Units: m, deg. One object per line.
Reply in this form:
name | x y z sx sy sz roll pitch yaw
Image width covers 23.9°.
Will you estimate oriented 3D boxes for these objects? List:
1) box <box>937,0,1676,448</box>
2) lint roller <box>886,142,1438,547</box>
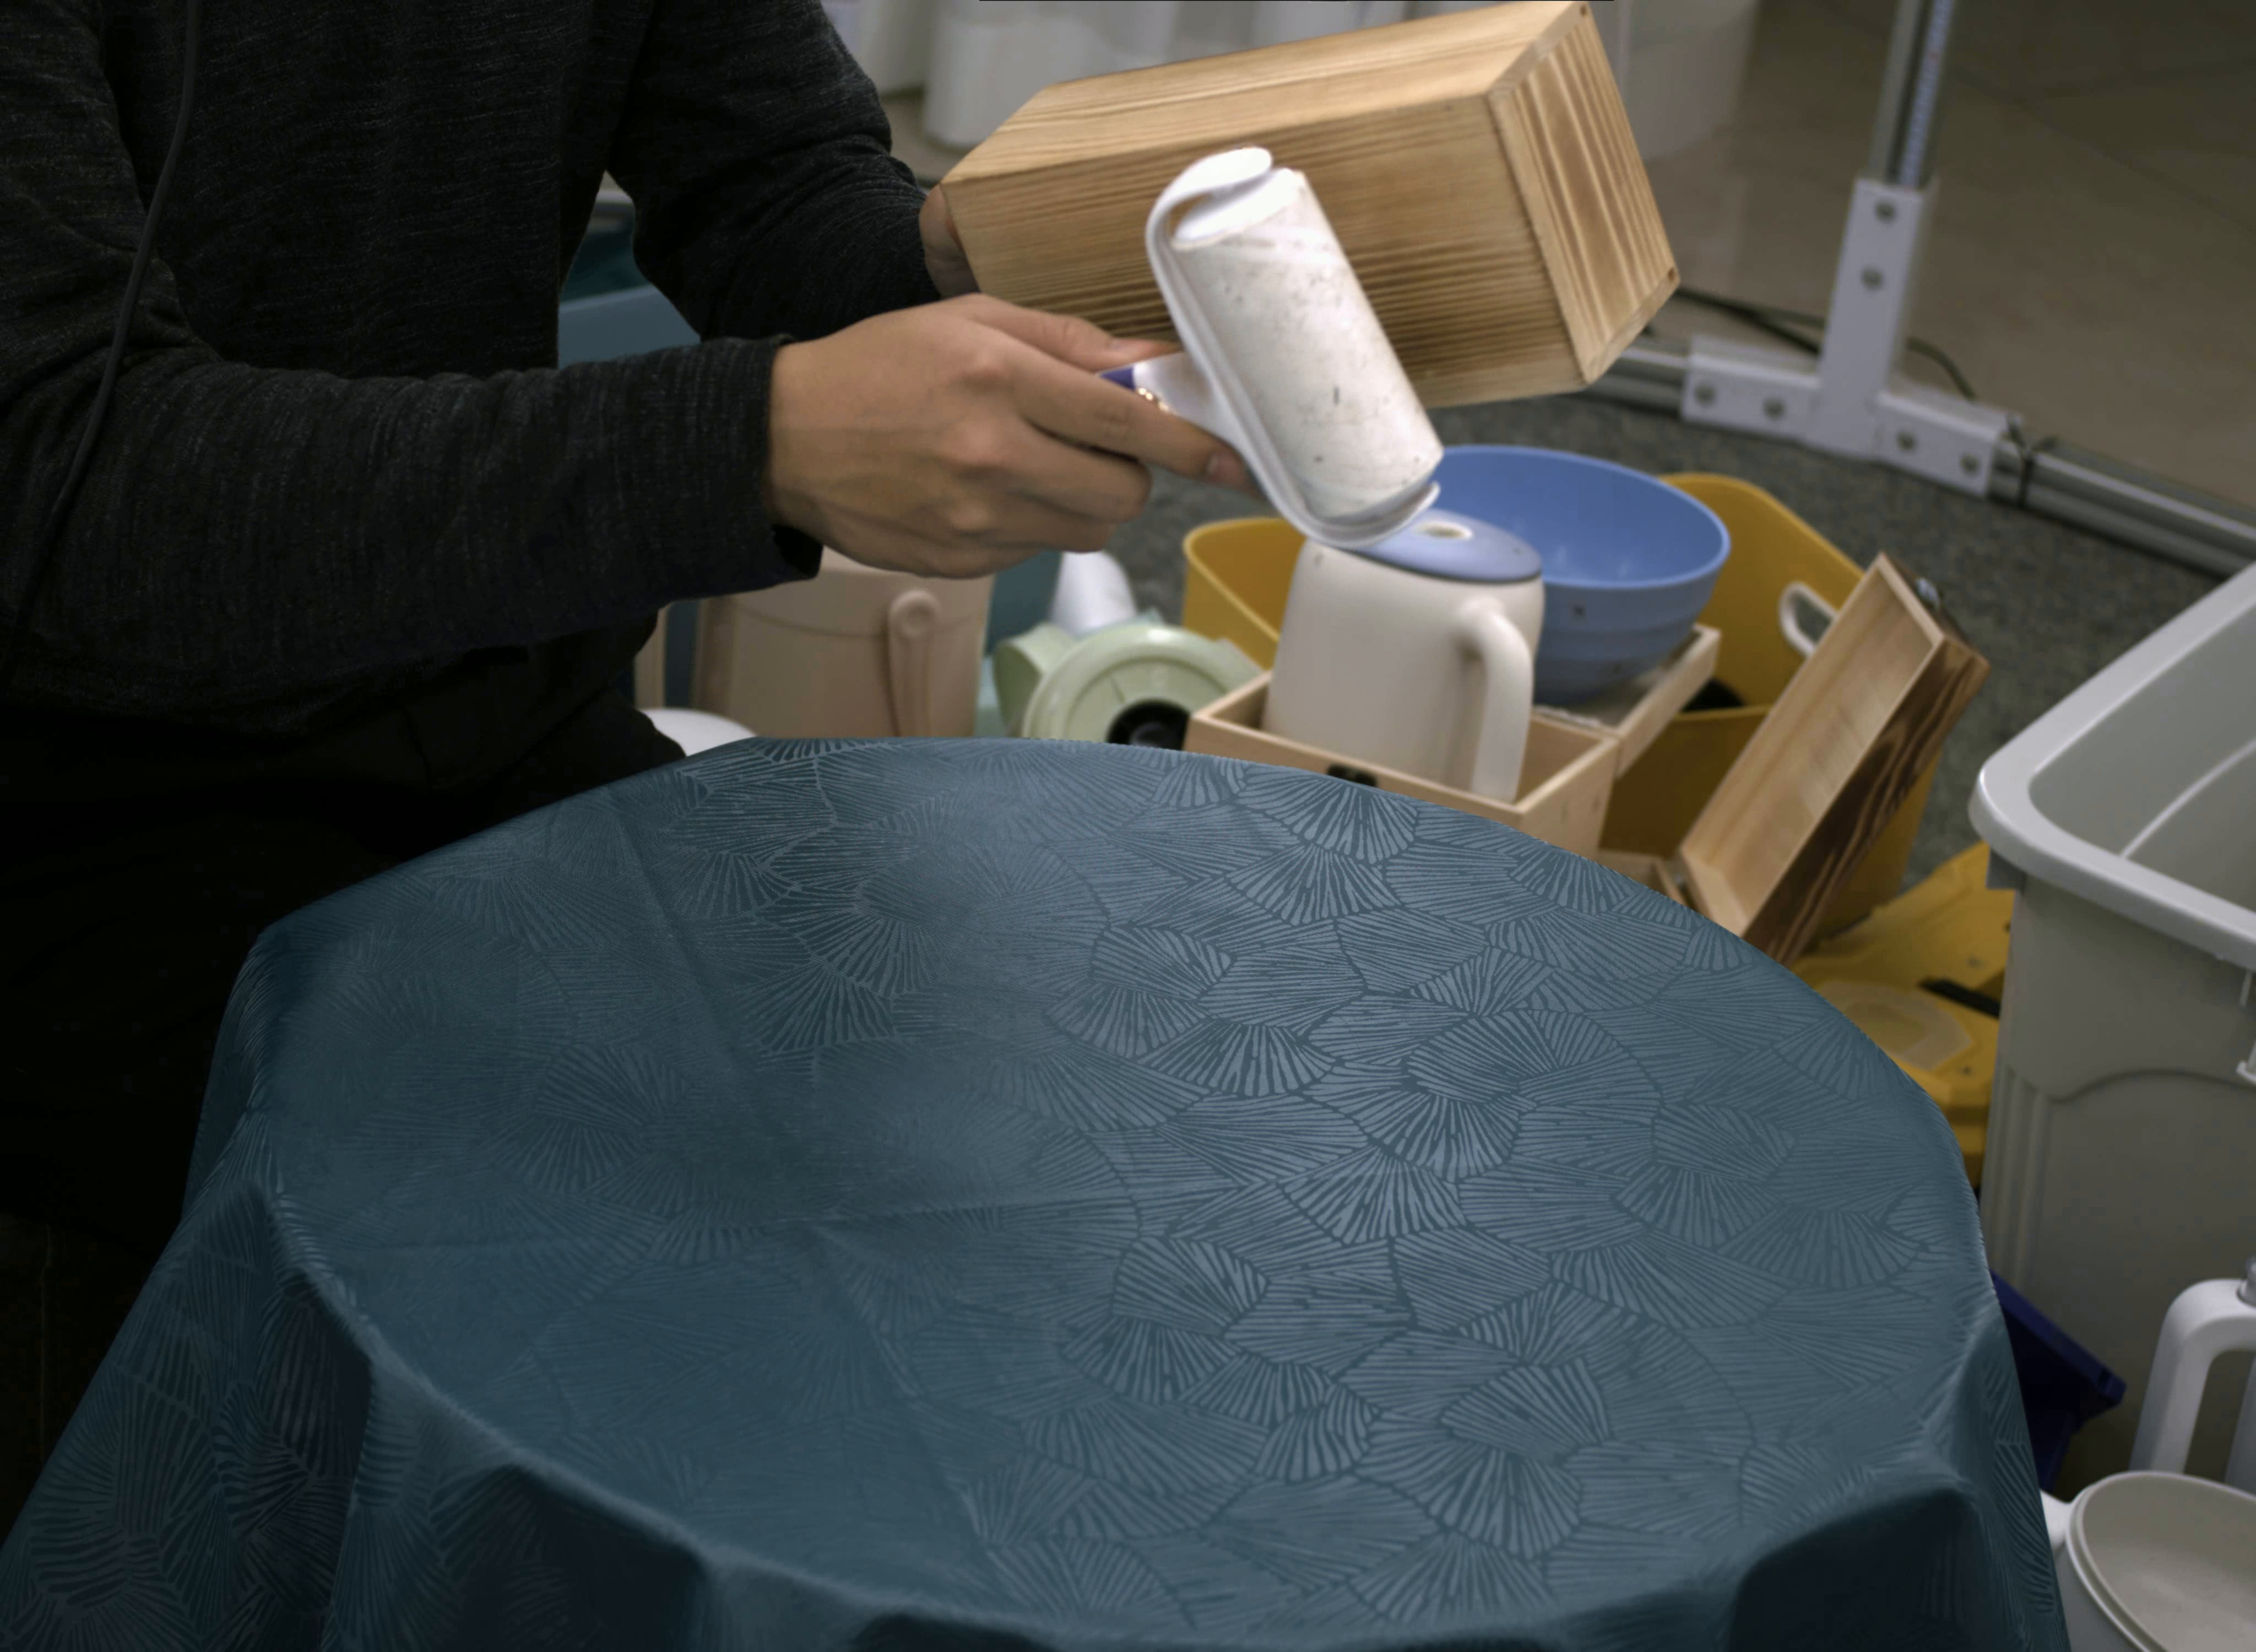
box | 0.058 -0.198 1.749 0.212 0.107 0.080 -6 28 33
lint roller | -0.004 -0.129 1.666 0.181 0.132 0.050 -20 20 22
